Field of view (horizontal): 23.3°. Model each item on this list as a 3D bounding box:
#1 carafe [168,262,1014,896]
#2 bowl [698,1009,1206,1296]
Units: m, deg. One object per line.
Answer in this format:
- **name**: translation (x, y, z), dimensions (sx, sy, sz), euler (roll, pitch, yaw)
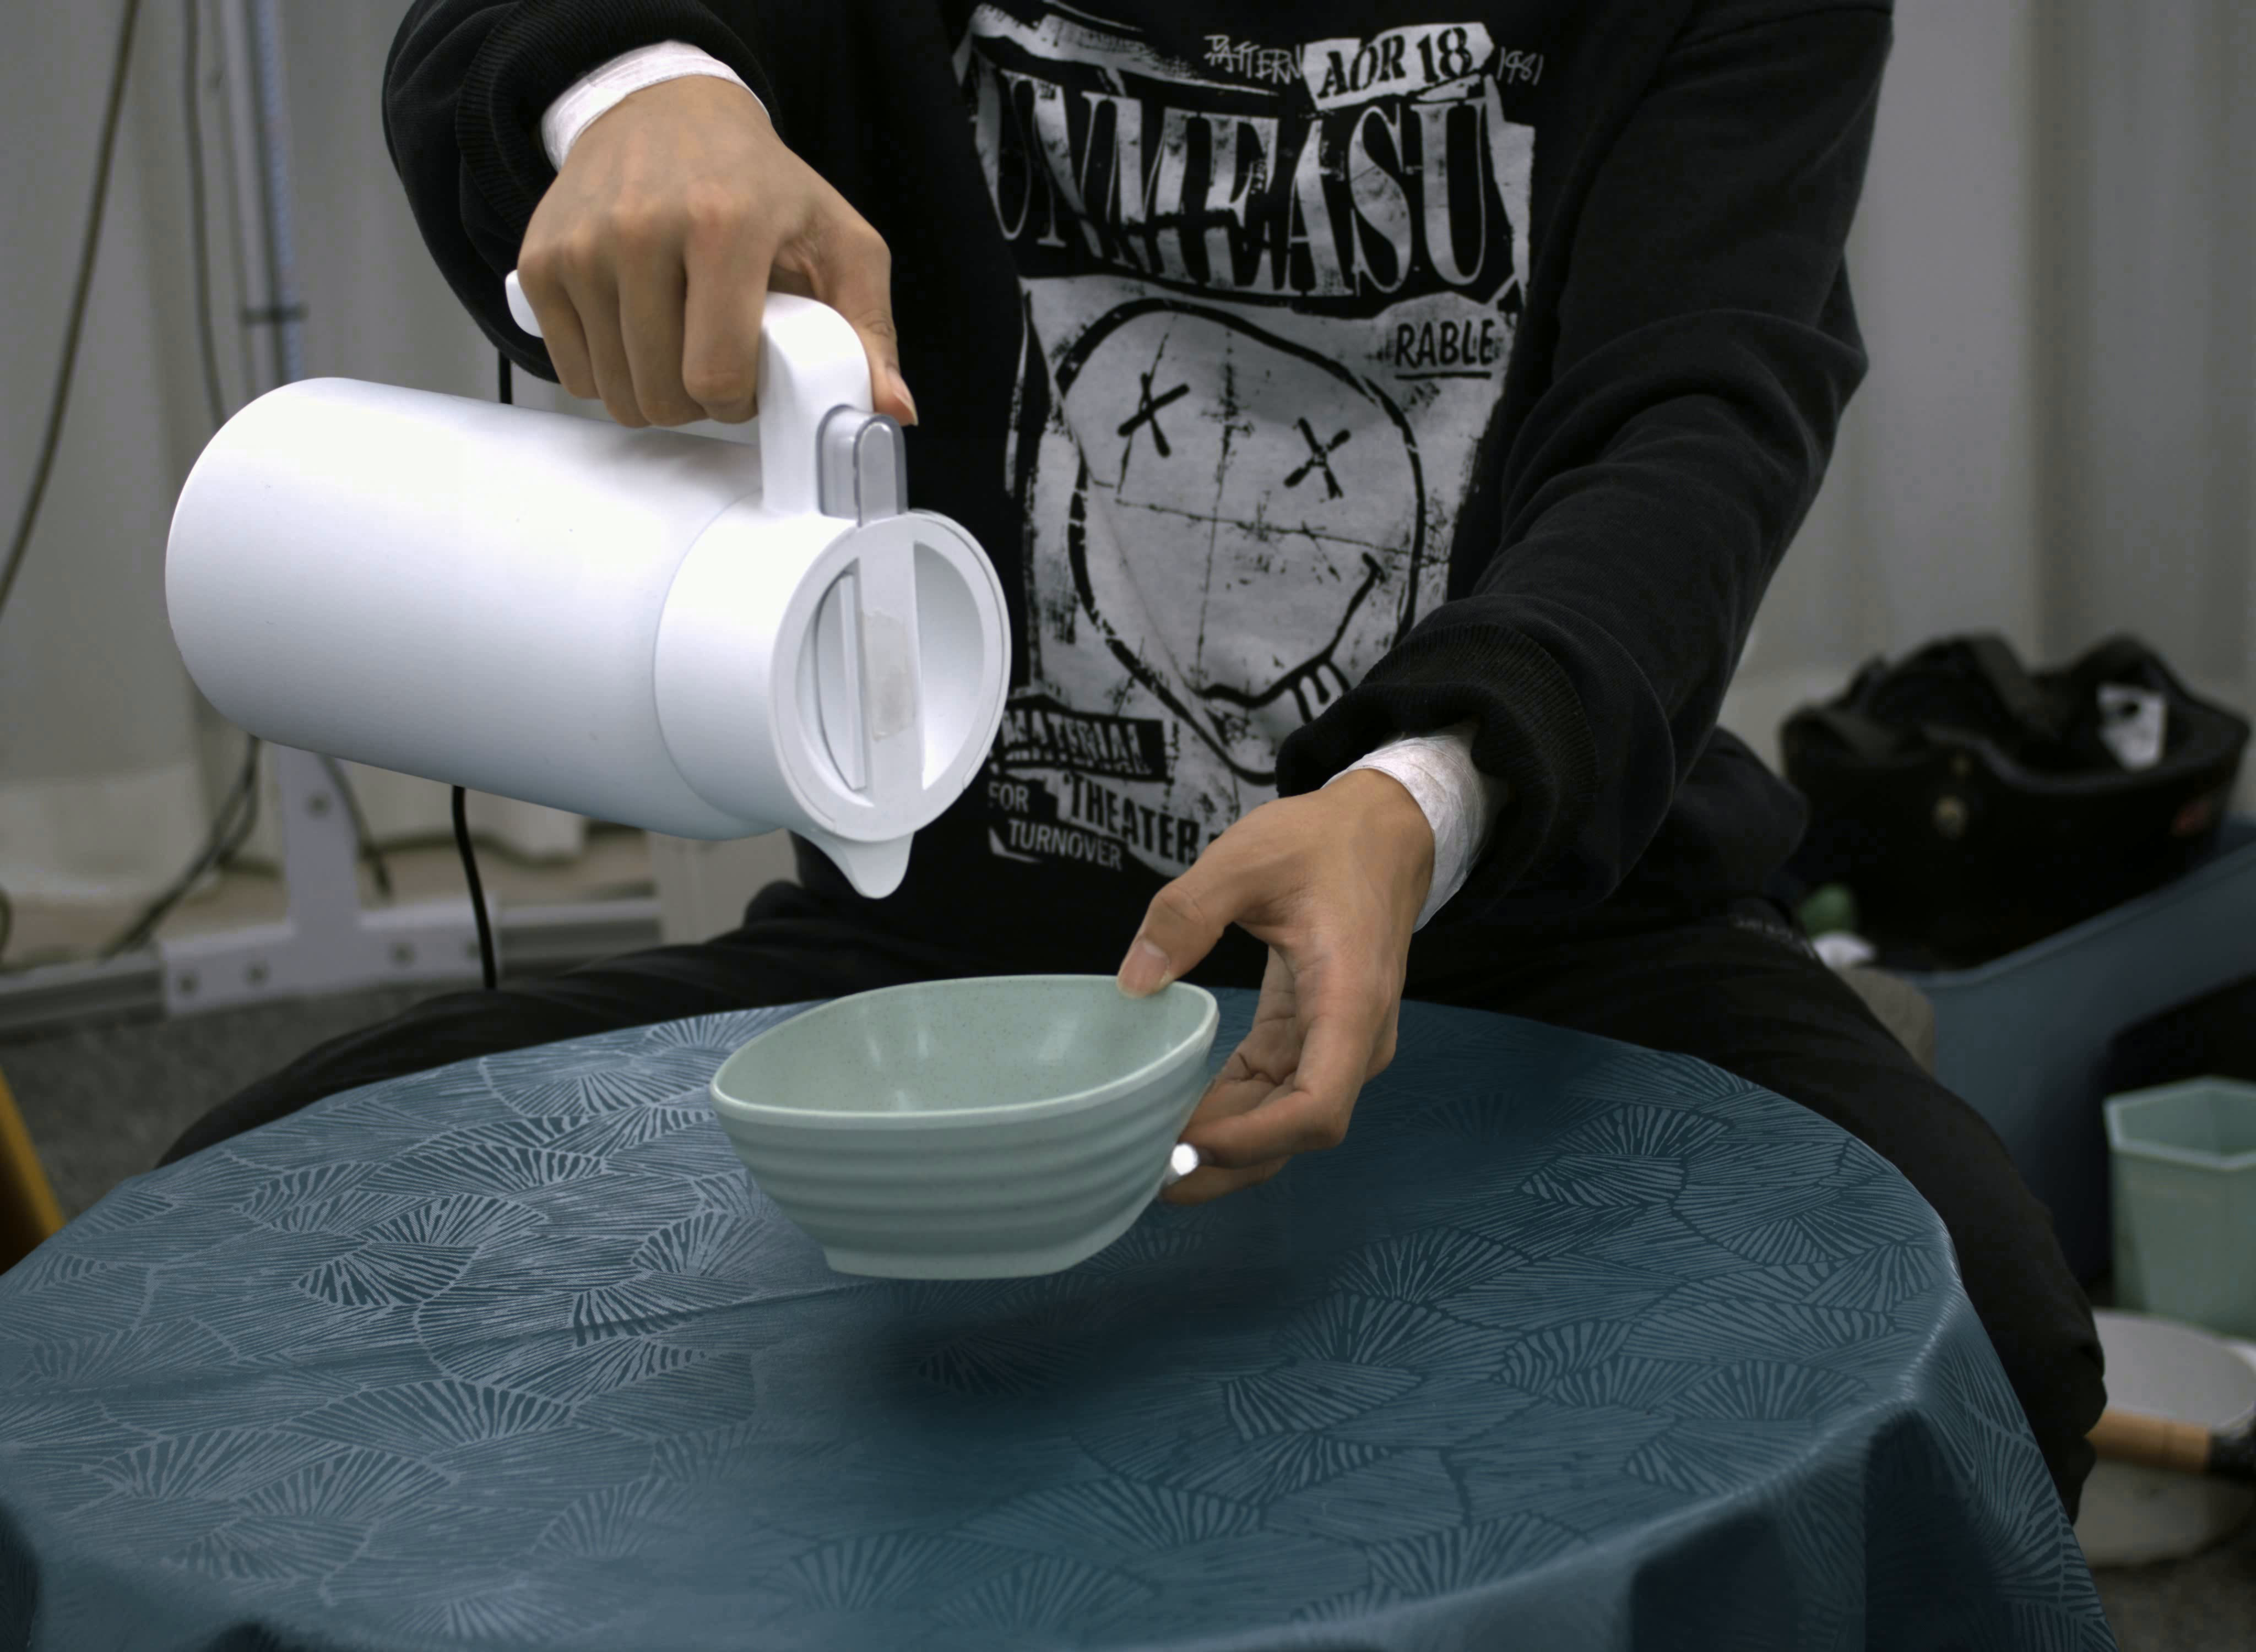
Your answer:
- **carafe**: translation (-0.164, -0.081, 1.634), dimensions (0.270, 0.172, 0.123), euler (12, 23, 43)
- **bowl**: translation (-0.047, 0.095, 1.556), dimensions (0.151, 0.058, 0.152), euler (-5, 9, 0)
